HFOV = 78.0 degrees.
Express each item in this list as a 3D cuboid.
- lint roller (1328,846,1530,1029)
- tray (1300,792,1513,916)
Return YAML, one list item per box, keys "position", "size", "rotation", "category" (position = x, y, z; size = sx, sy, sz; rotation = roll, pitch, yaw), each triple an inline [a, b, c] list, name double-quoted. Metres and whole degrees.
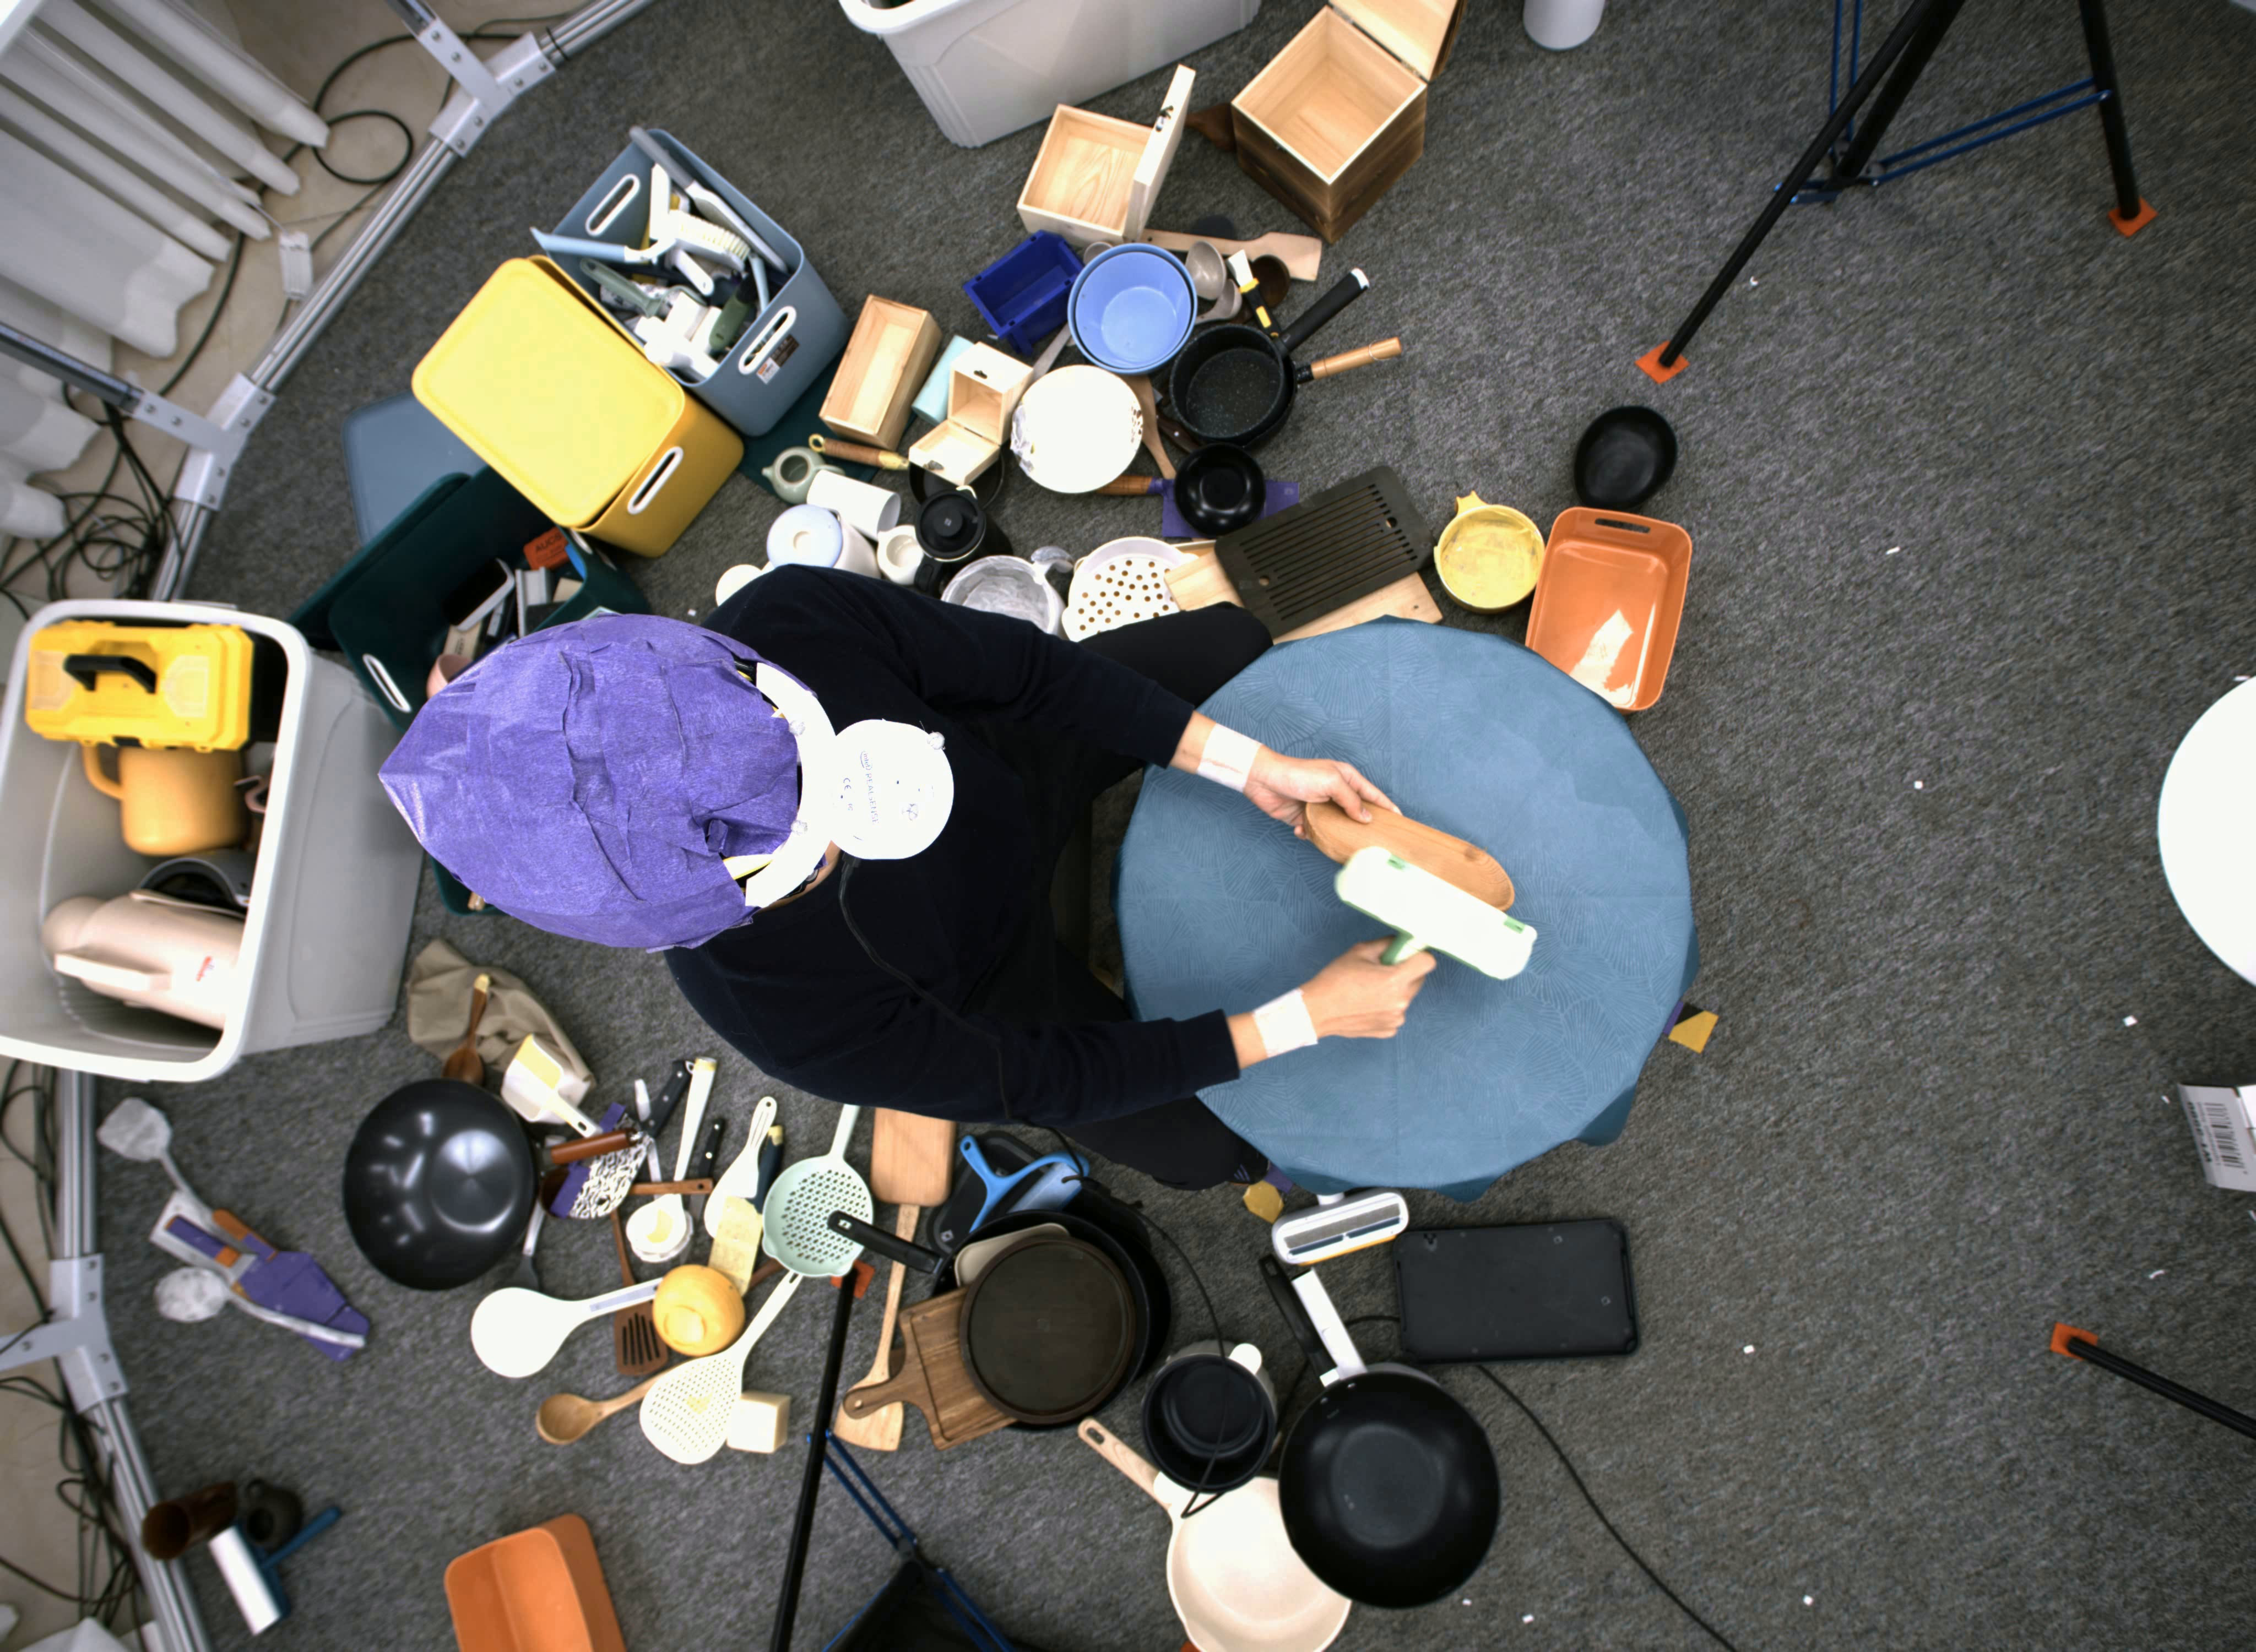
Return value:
- position: [0.261, 0.132, 1.325]
  size: [0.199, 0.081, 0.186]
  rotation: [25, 107, -13]
  category: "lint roller"
- position: [0.276, 0.027, 1.364]
  size: [0.231, 0.099, 0.021]
  rotation: [19, 128, -7]
  category: "tray"
